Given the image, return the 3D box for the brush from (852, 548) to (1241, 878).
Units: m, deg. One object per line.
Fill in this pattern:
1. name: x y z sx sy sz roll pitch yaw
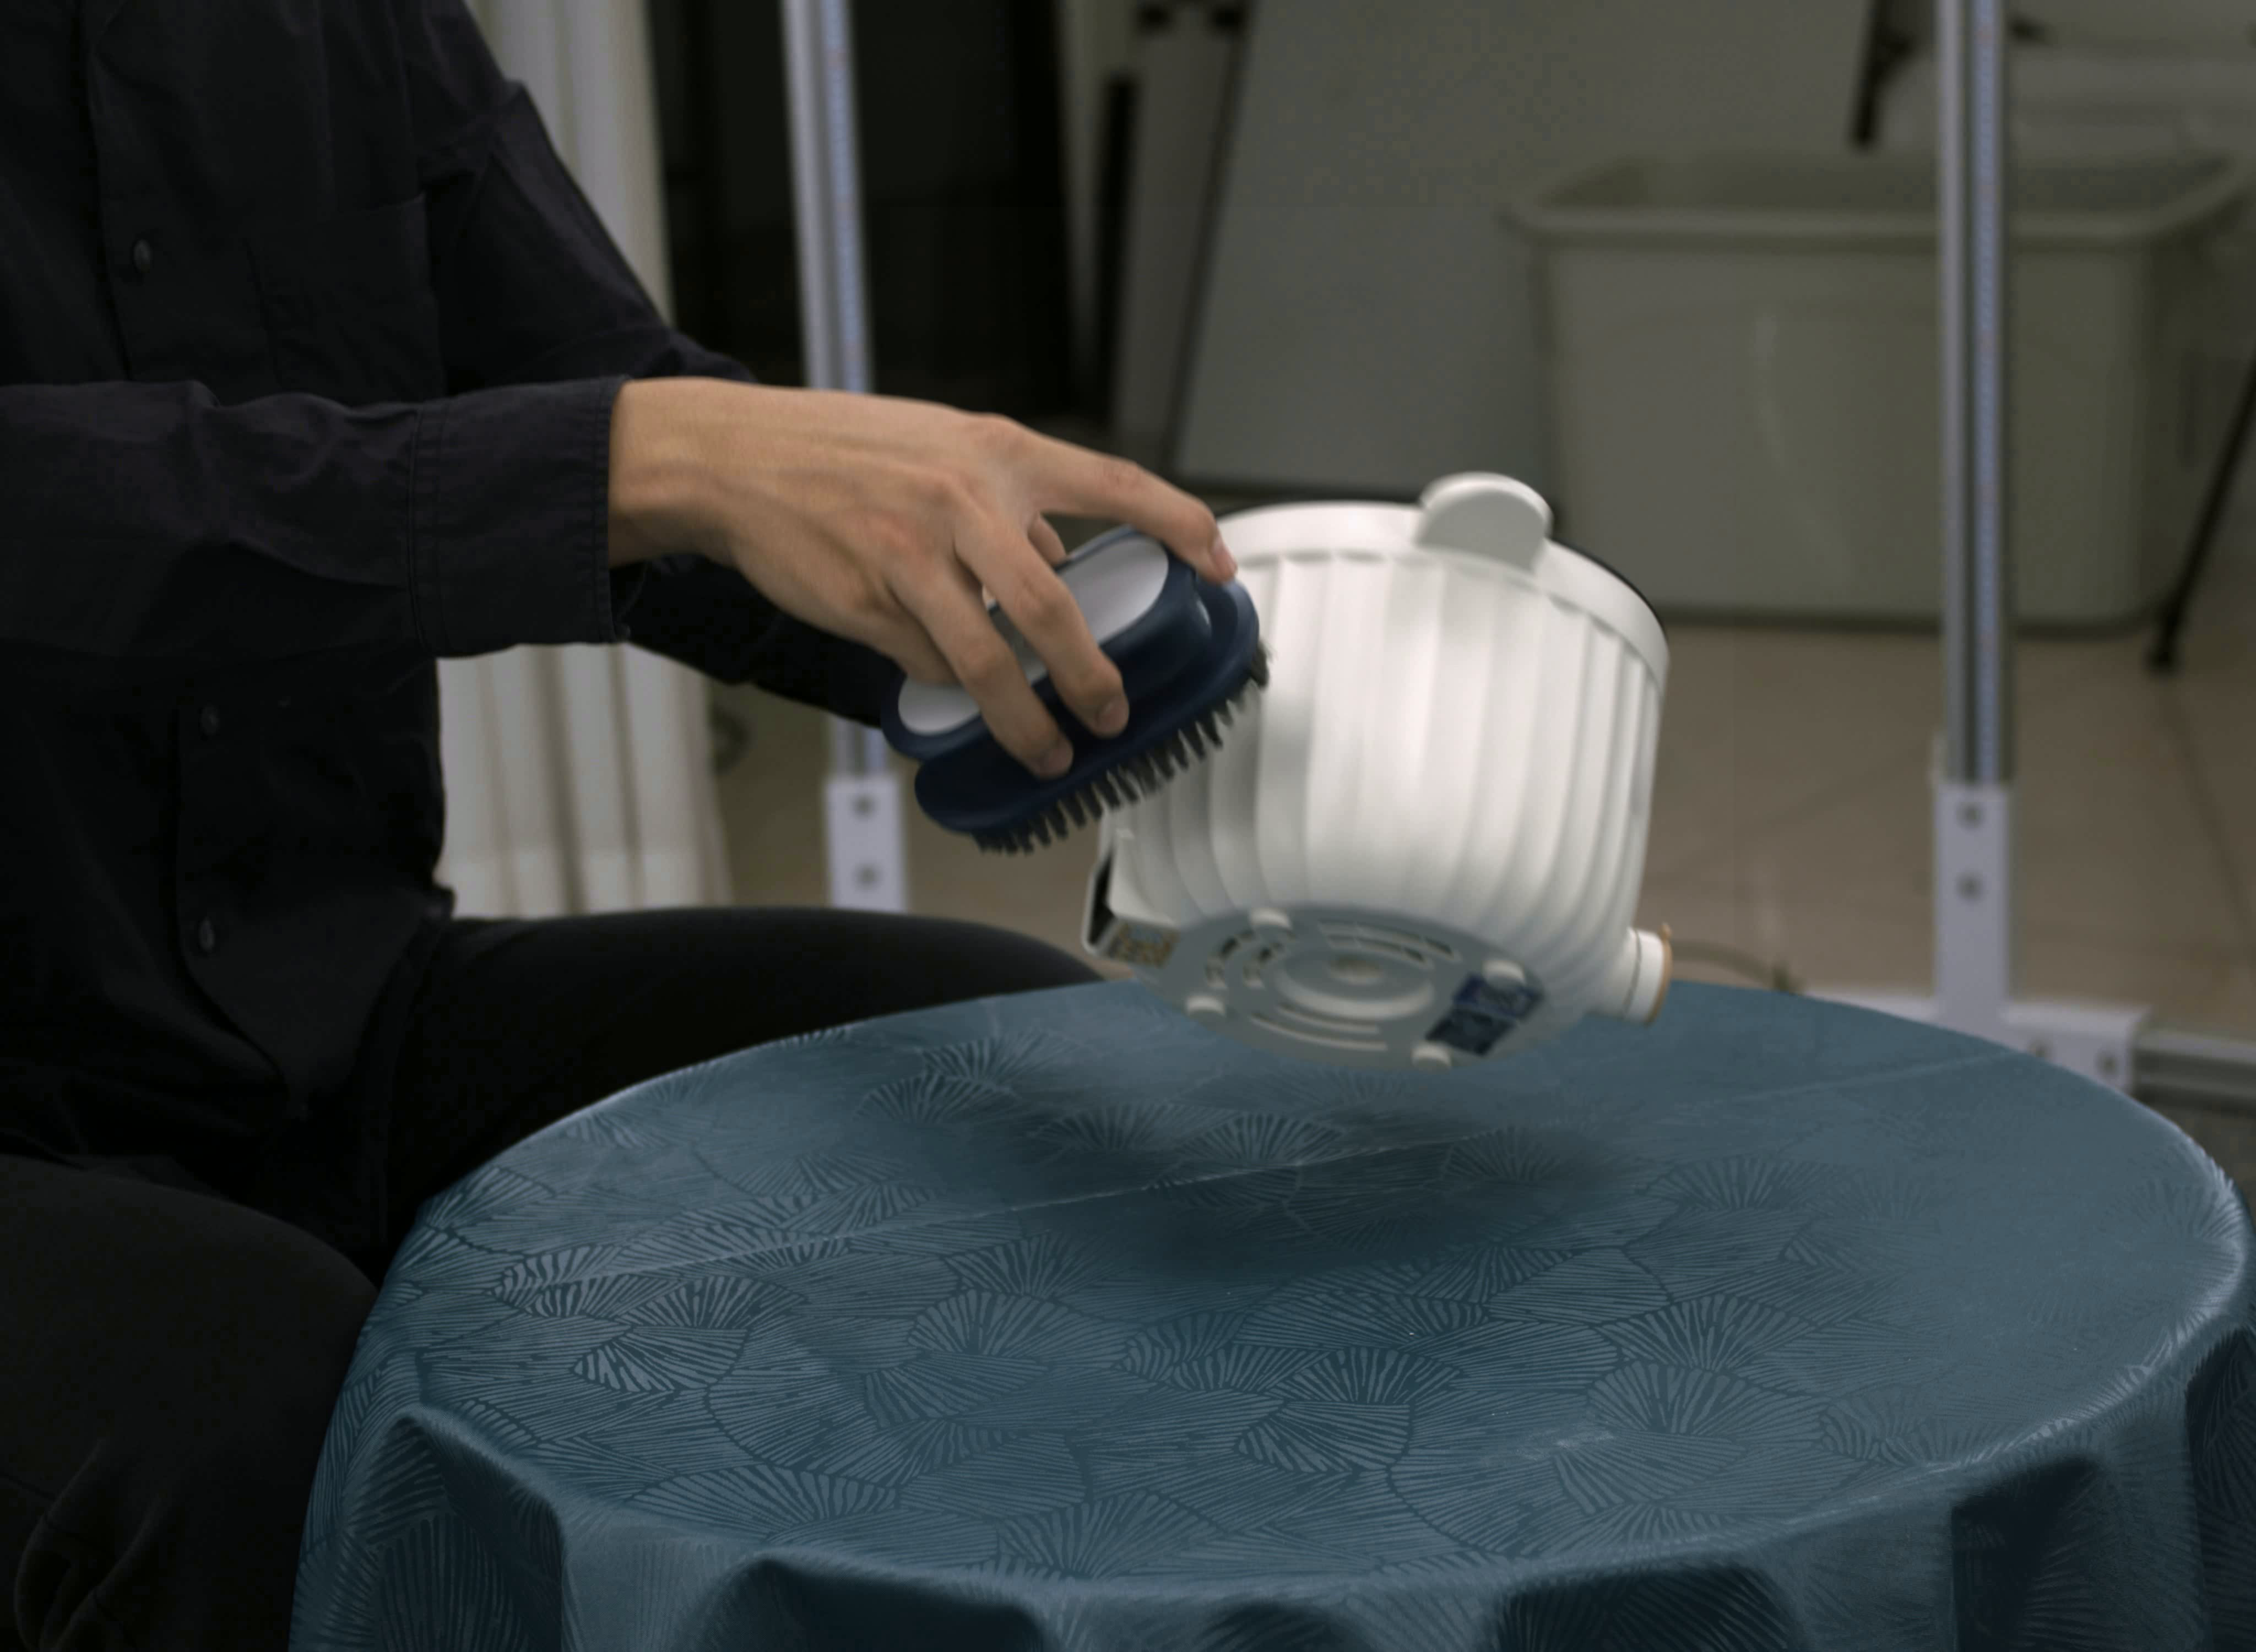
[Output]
1. brush: -0.023 -0.032 1.639 0.121 0.060 0.068 -26 40 13

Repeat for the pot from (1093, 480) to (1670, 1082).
1. pot: 0.088 -0.002 1.768 0.187 0.144 0.242 11 -24 -12
